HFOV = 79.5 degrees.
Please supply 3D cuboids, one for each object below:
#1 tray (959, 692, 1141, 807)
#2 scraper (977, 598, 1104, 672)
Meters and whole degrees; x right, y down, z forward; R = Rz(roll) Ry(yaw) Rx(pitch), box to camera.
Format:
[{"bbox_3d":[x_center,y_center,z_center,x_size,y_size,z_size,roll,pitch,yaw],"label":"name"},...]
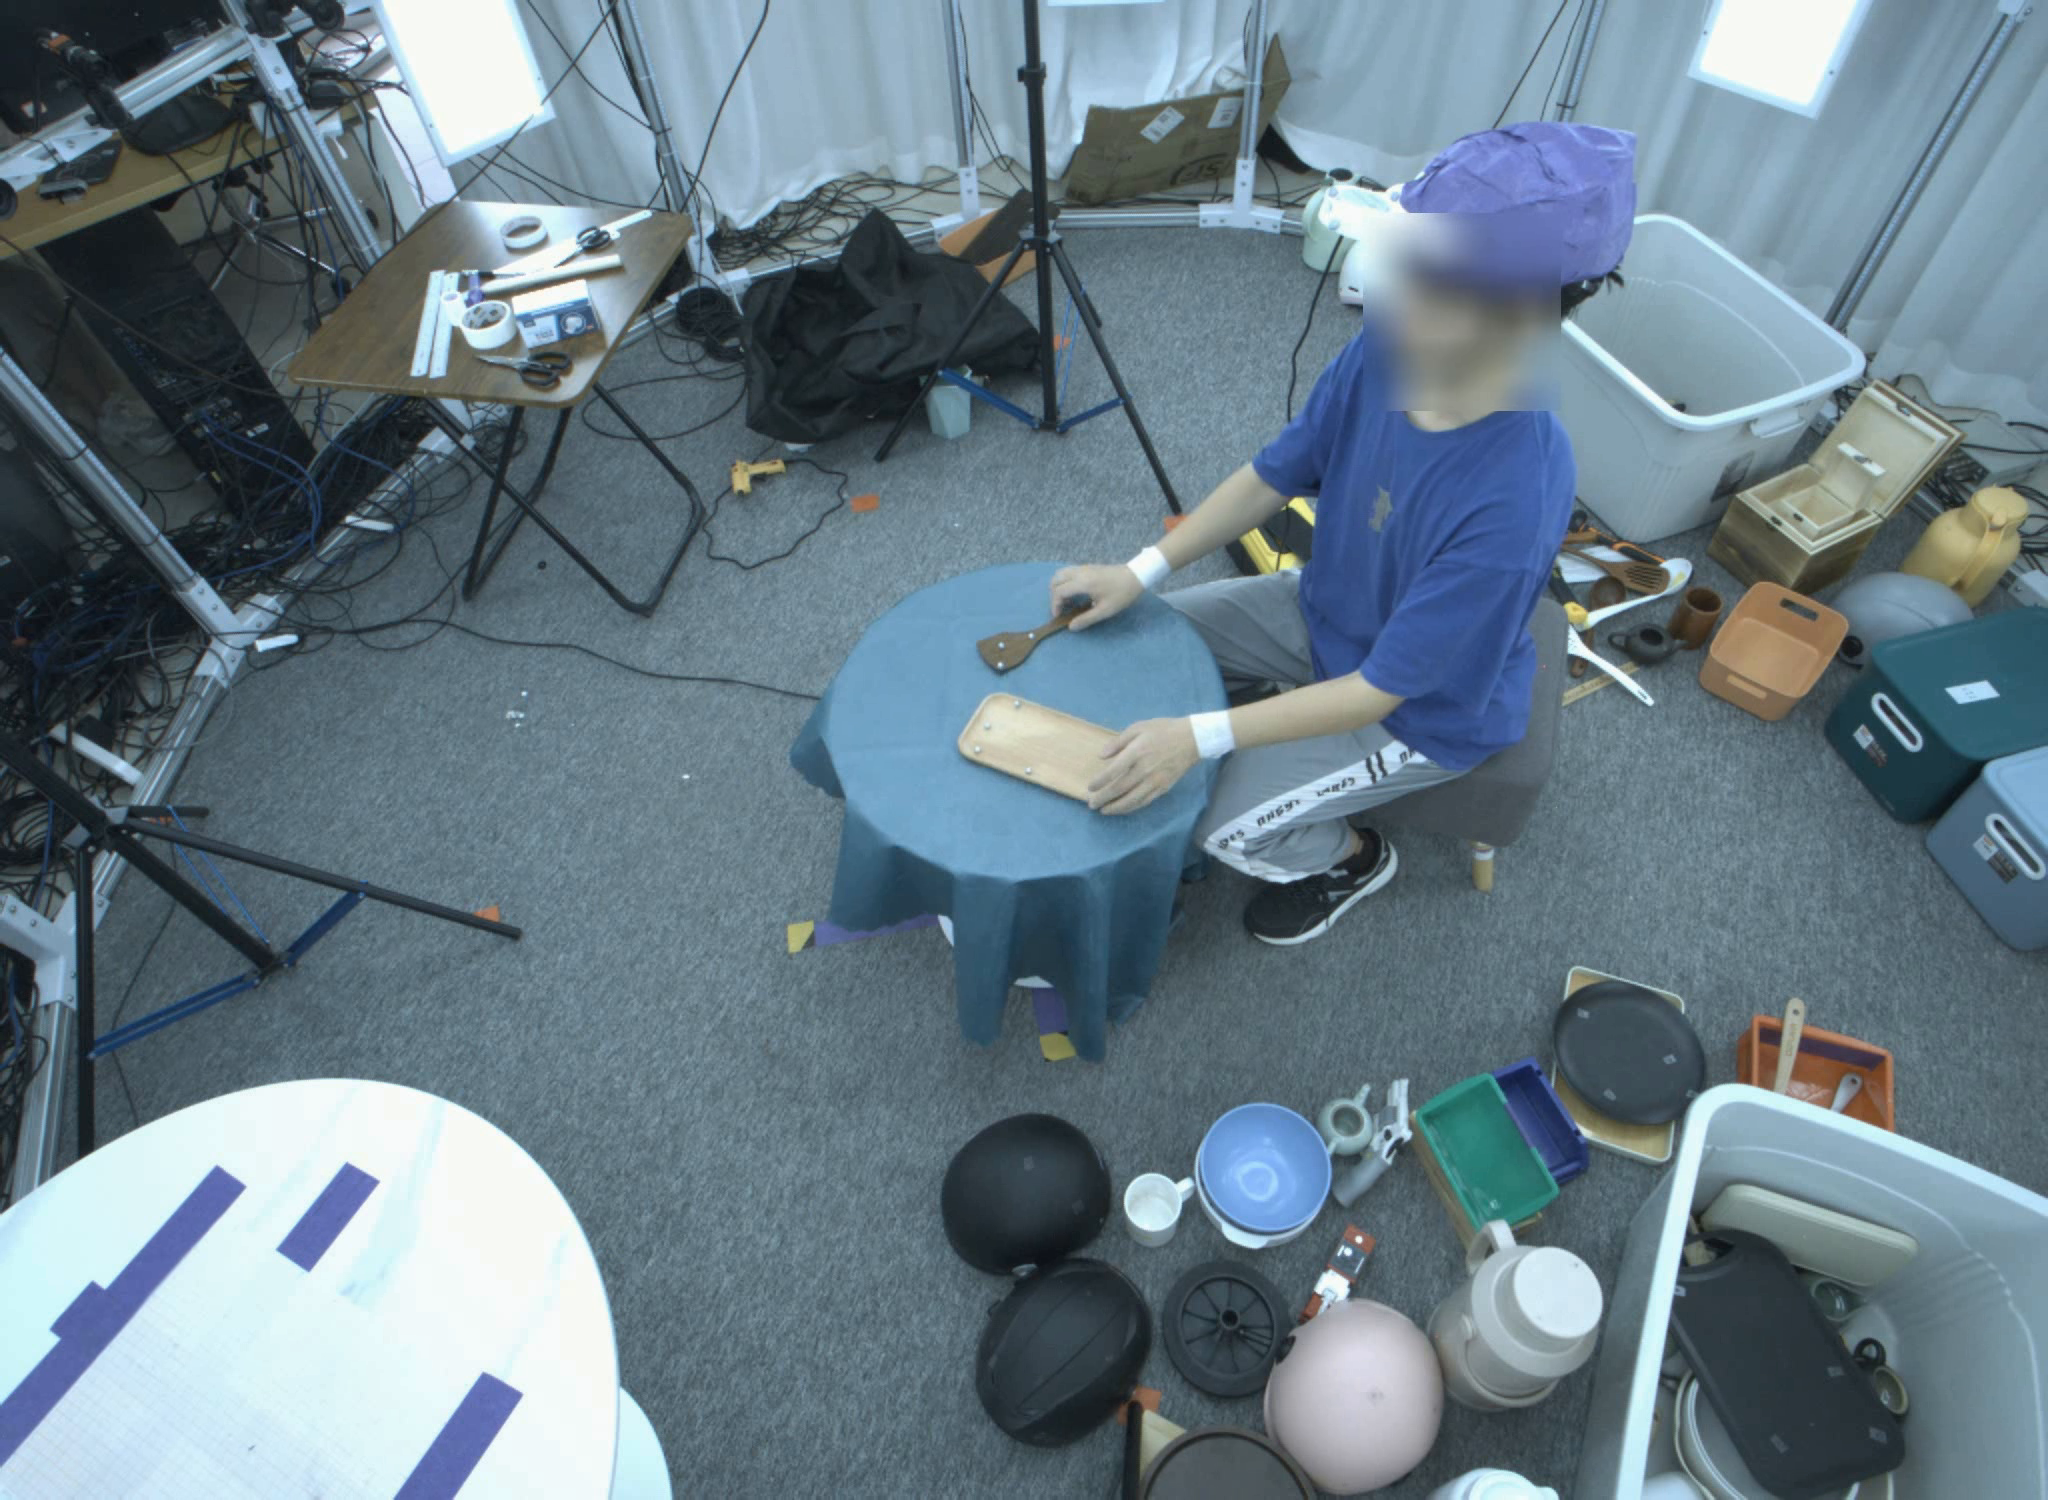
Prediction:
[{"bbox_3d":[0.036,-0.002,1.767,0.247,0.023,0.130,21,60,16],"label":"tray"},{"bbox_3d":[0.030,-0.185,1.902,0.213,0.011,0.074,-27,59,-16],"label":"scraper"}]
